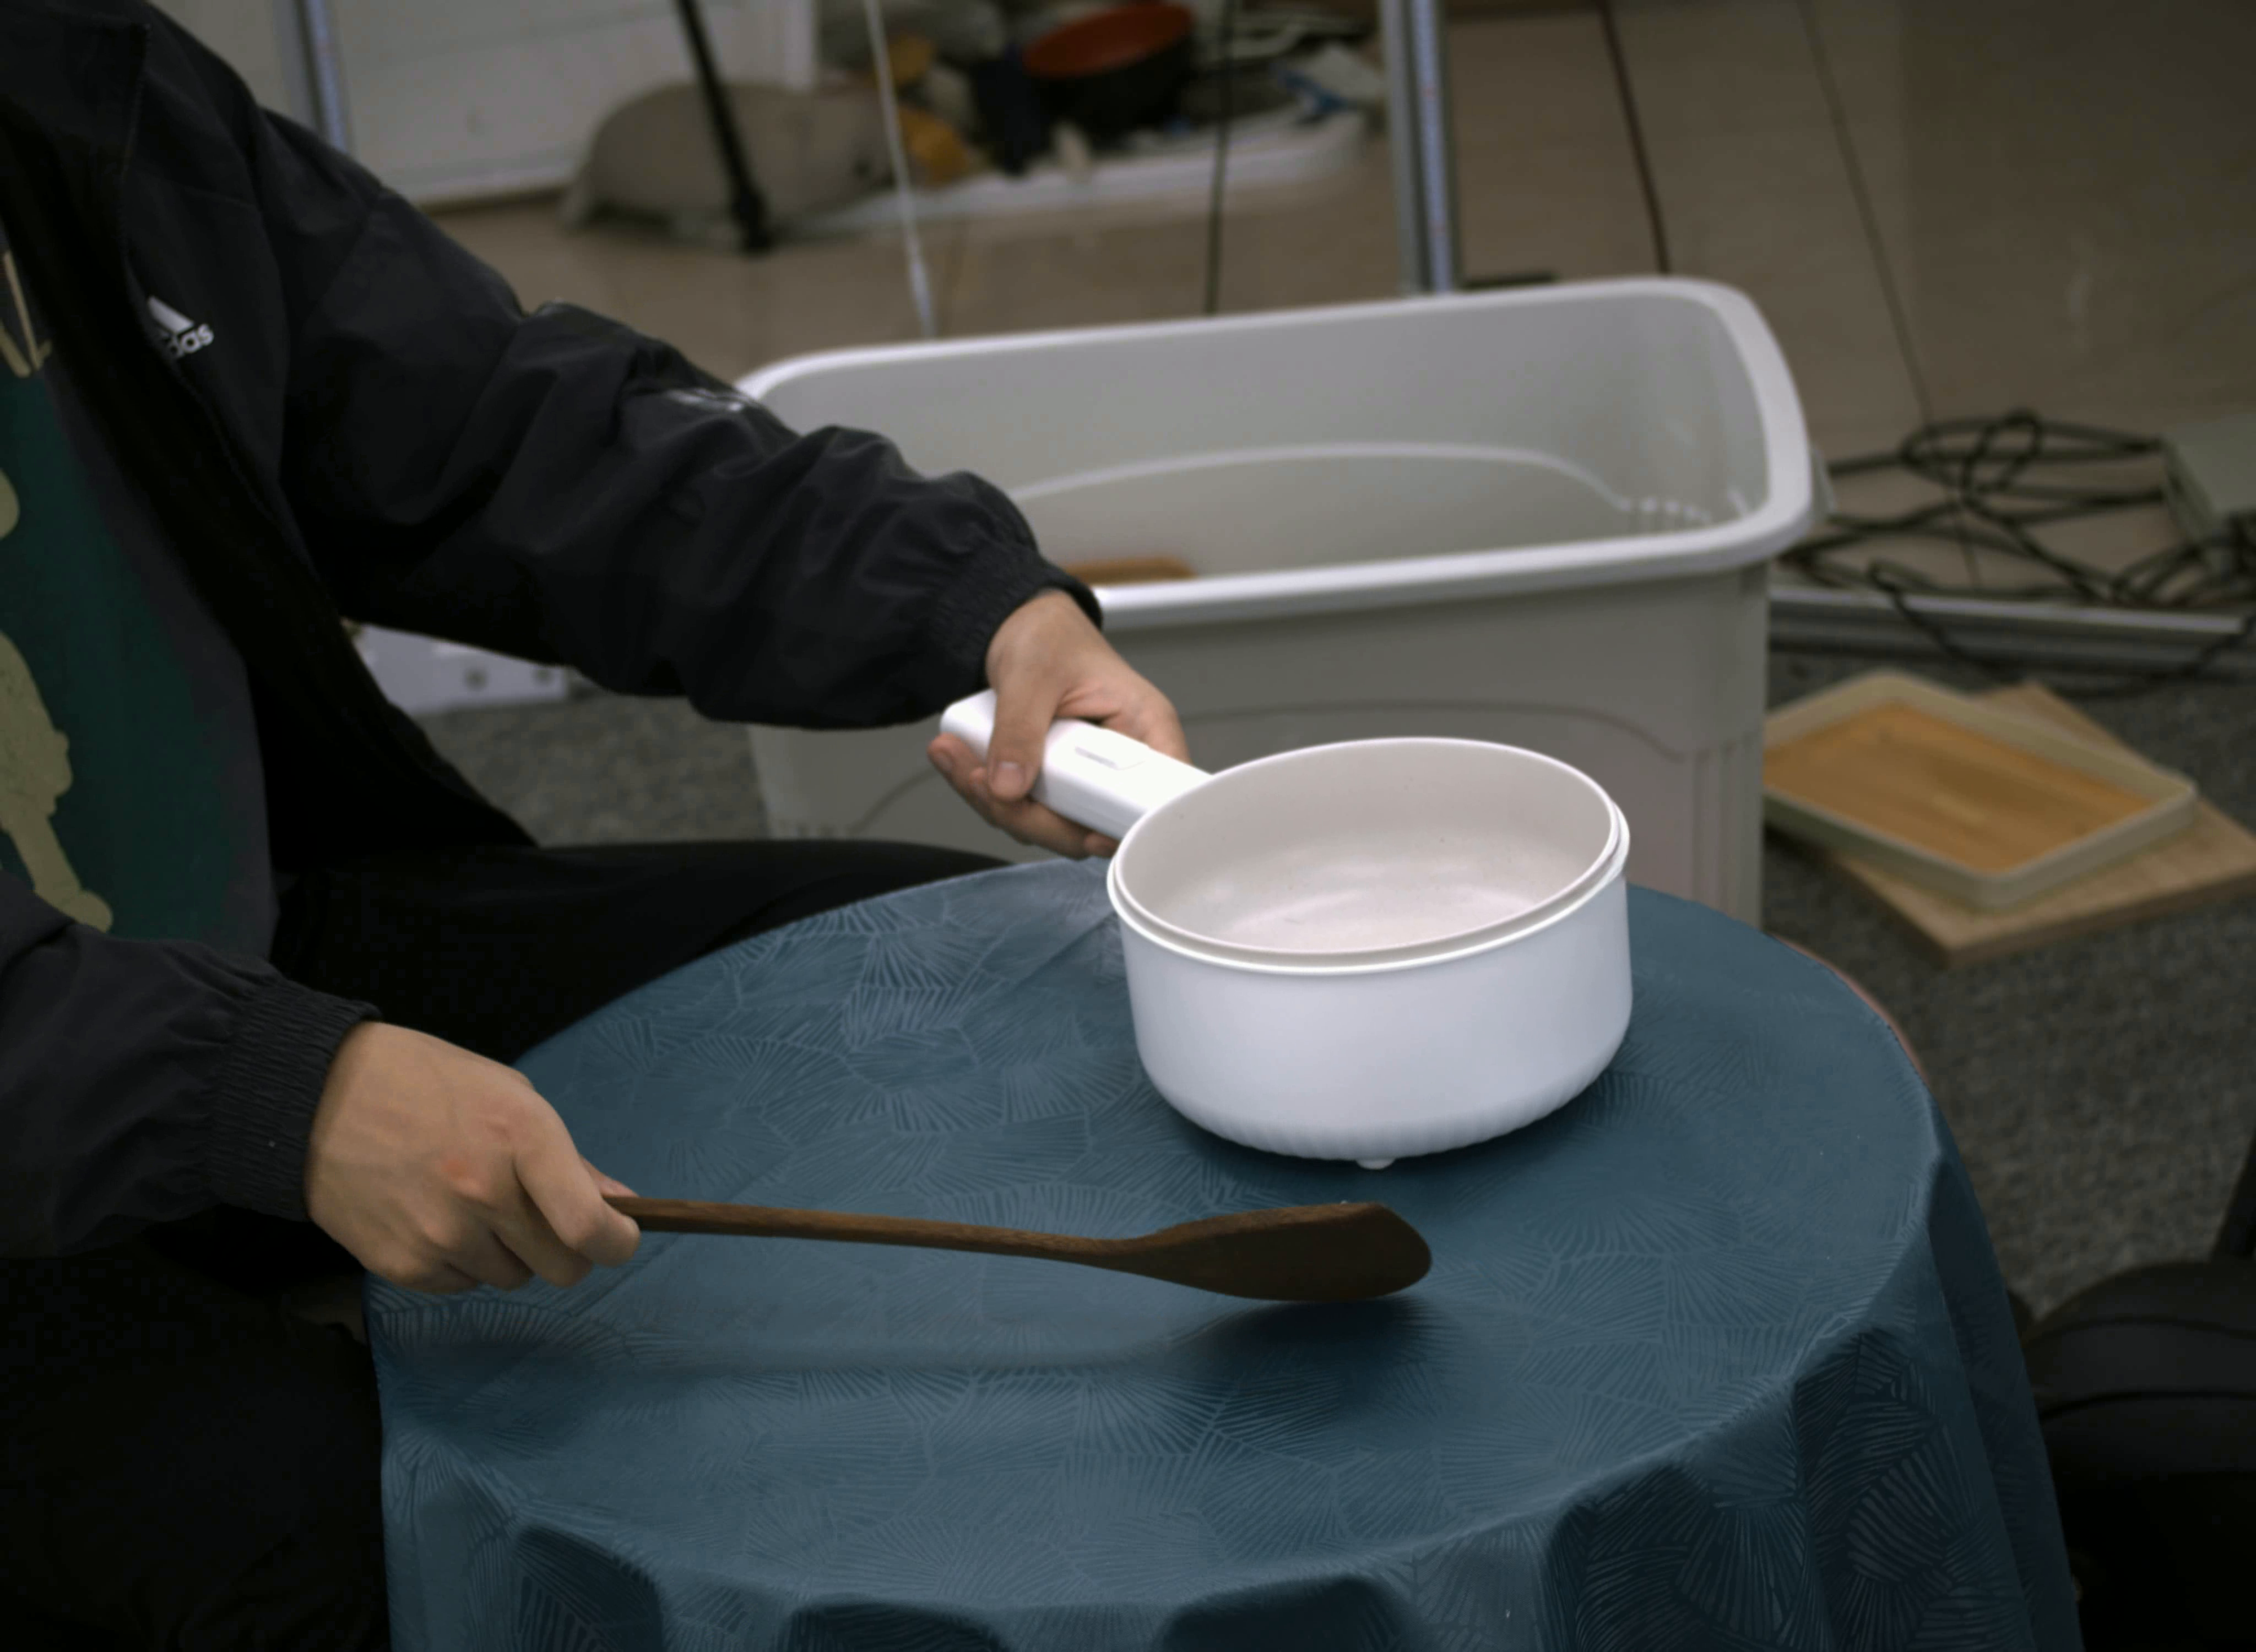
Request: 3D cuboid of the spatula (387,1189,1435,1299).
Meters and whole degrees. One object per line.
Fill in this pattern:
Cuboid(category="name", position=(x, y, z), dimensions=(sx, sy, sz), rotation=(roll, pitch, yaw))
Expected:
Cuboid(category="spatula", position=(-0.081, 0.146, 2.042), dimensions=(0.385, 0.097, 0.015), rotation=(2, 69, 11))

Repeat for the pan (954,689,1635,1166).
Cuboid(category="pan", position=(0.051, 0.032, 2.247), dimensions=(0.200, 0.103, 0.352), rotation=(-23, 28, -31))
